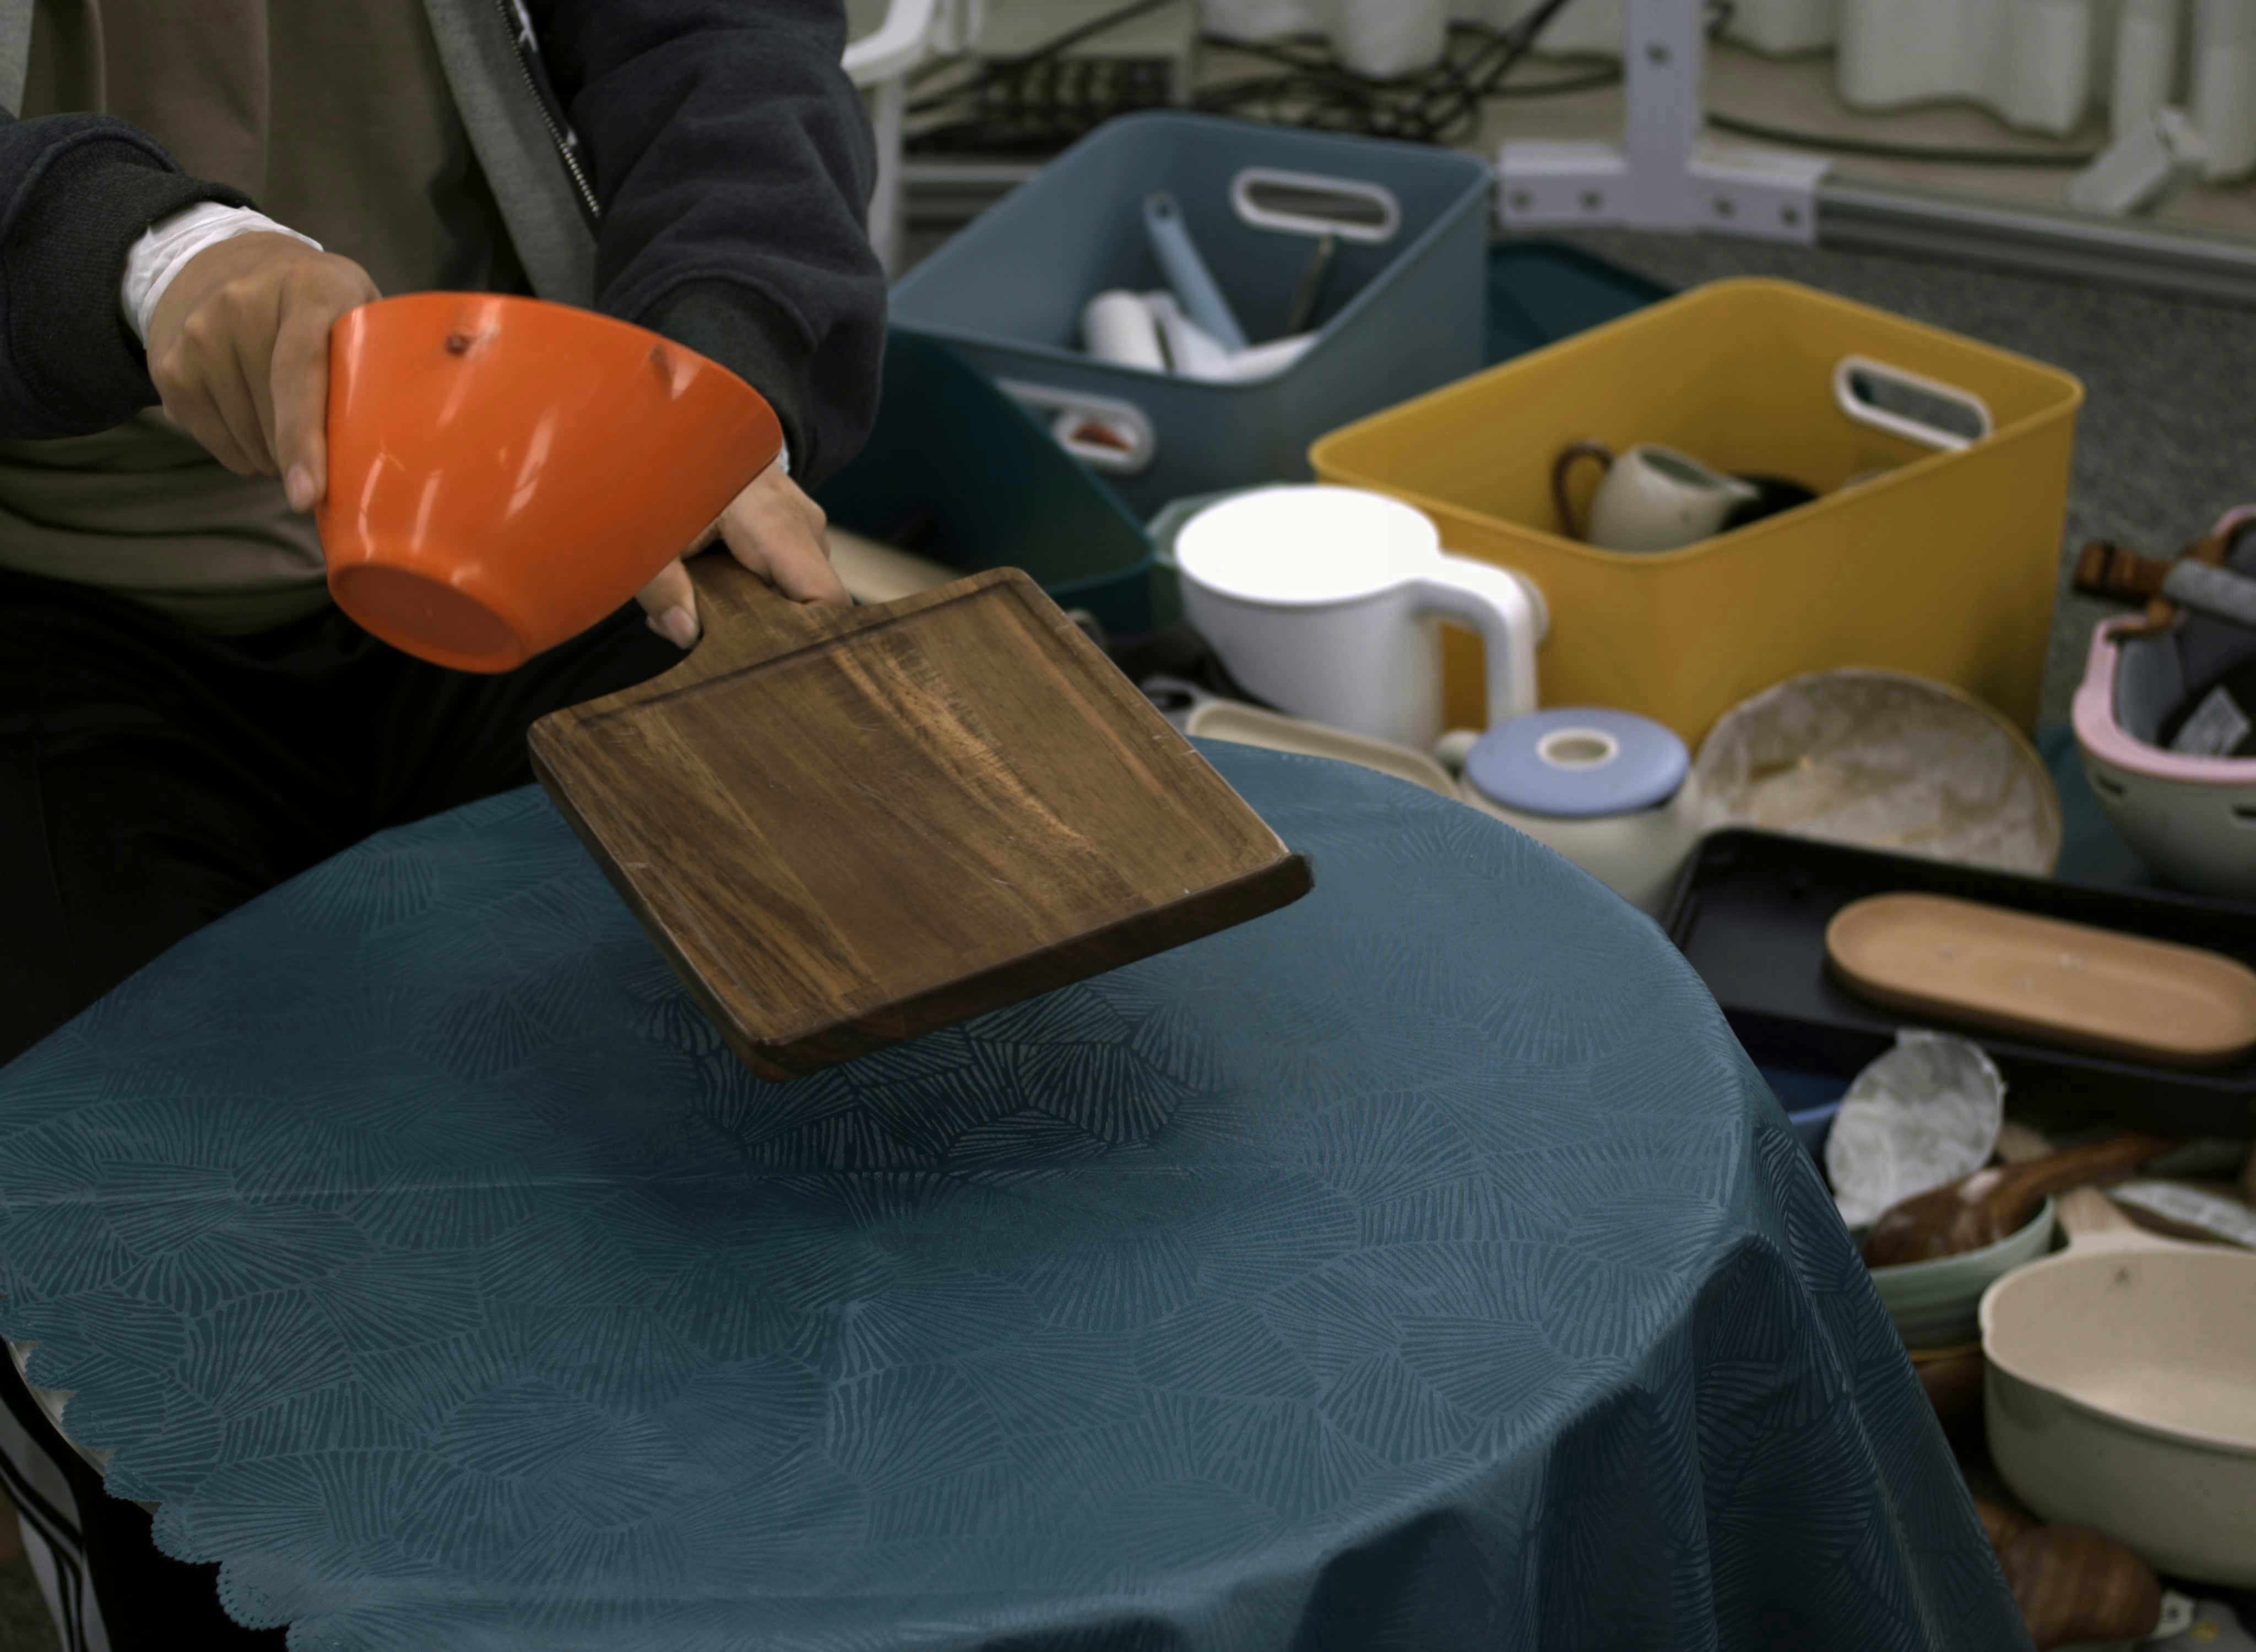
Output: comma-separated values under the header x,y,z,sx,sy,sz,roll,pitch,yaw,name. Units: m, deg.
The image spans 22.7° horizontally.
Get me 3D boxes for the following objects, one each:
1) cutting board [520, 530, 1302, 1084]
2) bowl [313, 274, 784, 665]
x,y,z,sx,sy,sz,roll,pitch,yaw,name
-0.098,-0.027,1.971,0.202,0.023,0.355,-19,32,-17,cutting board
-0.195,-0.106,1.796,0.147,0.146,0.106,10,62,23,bowl
